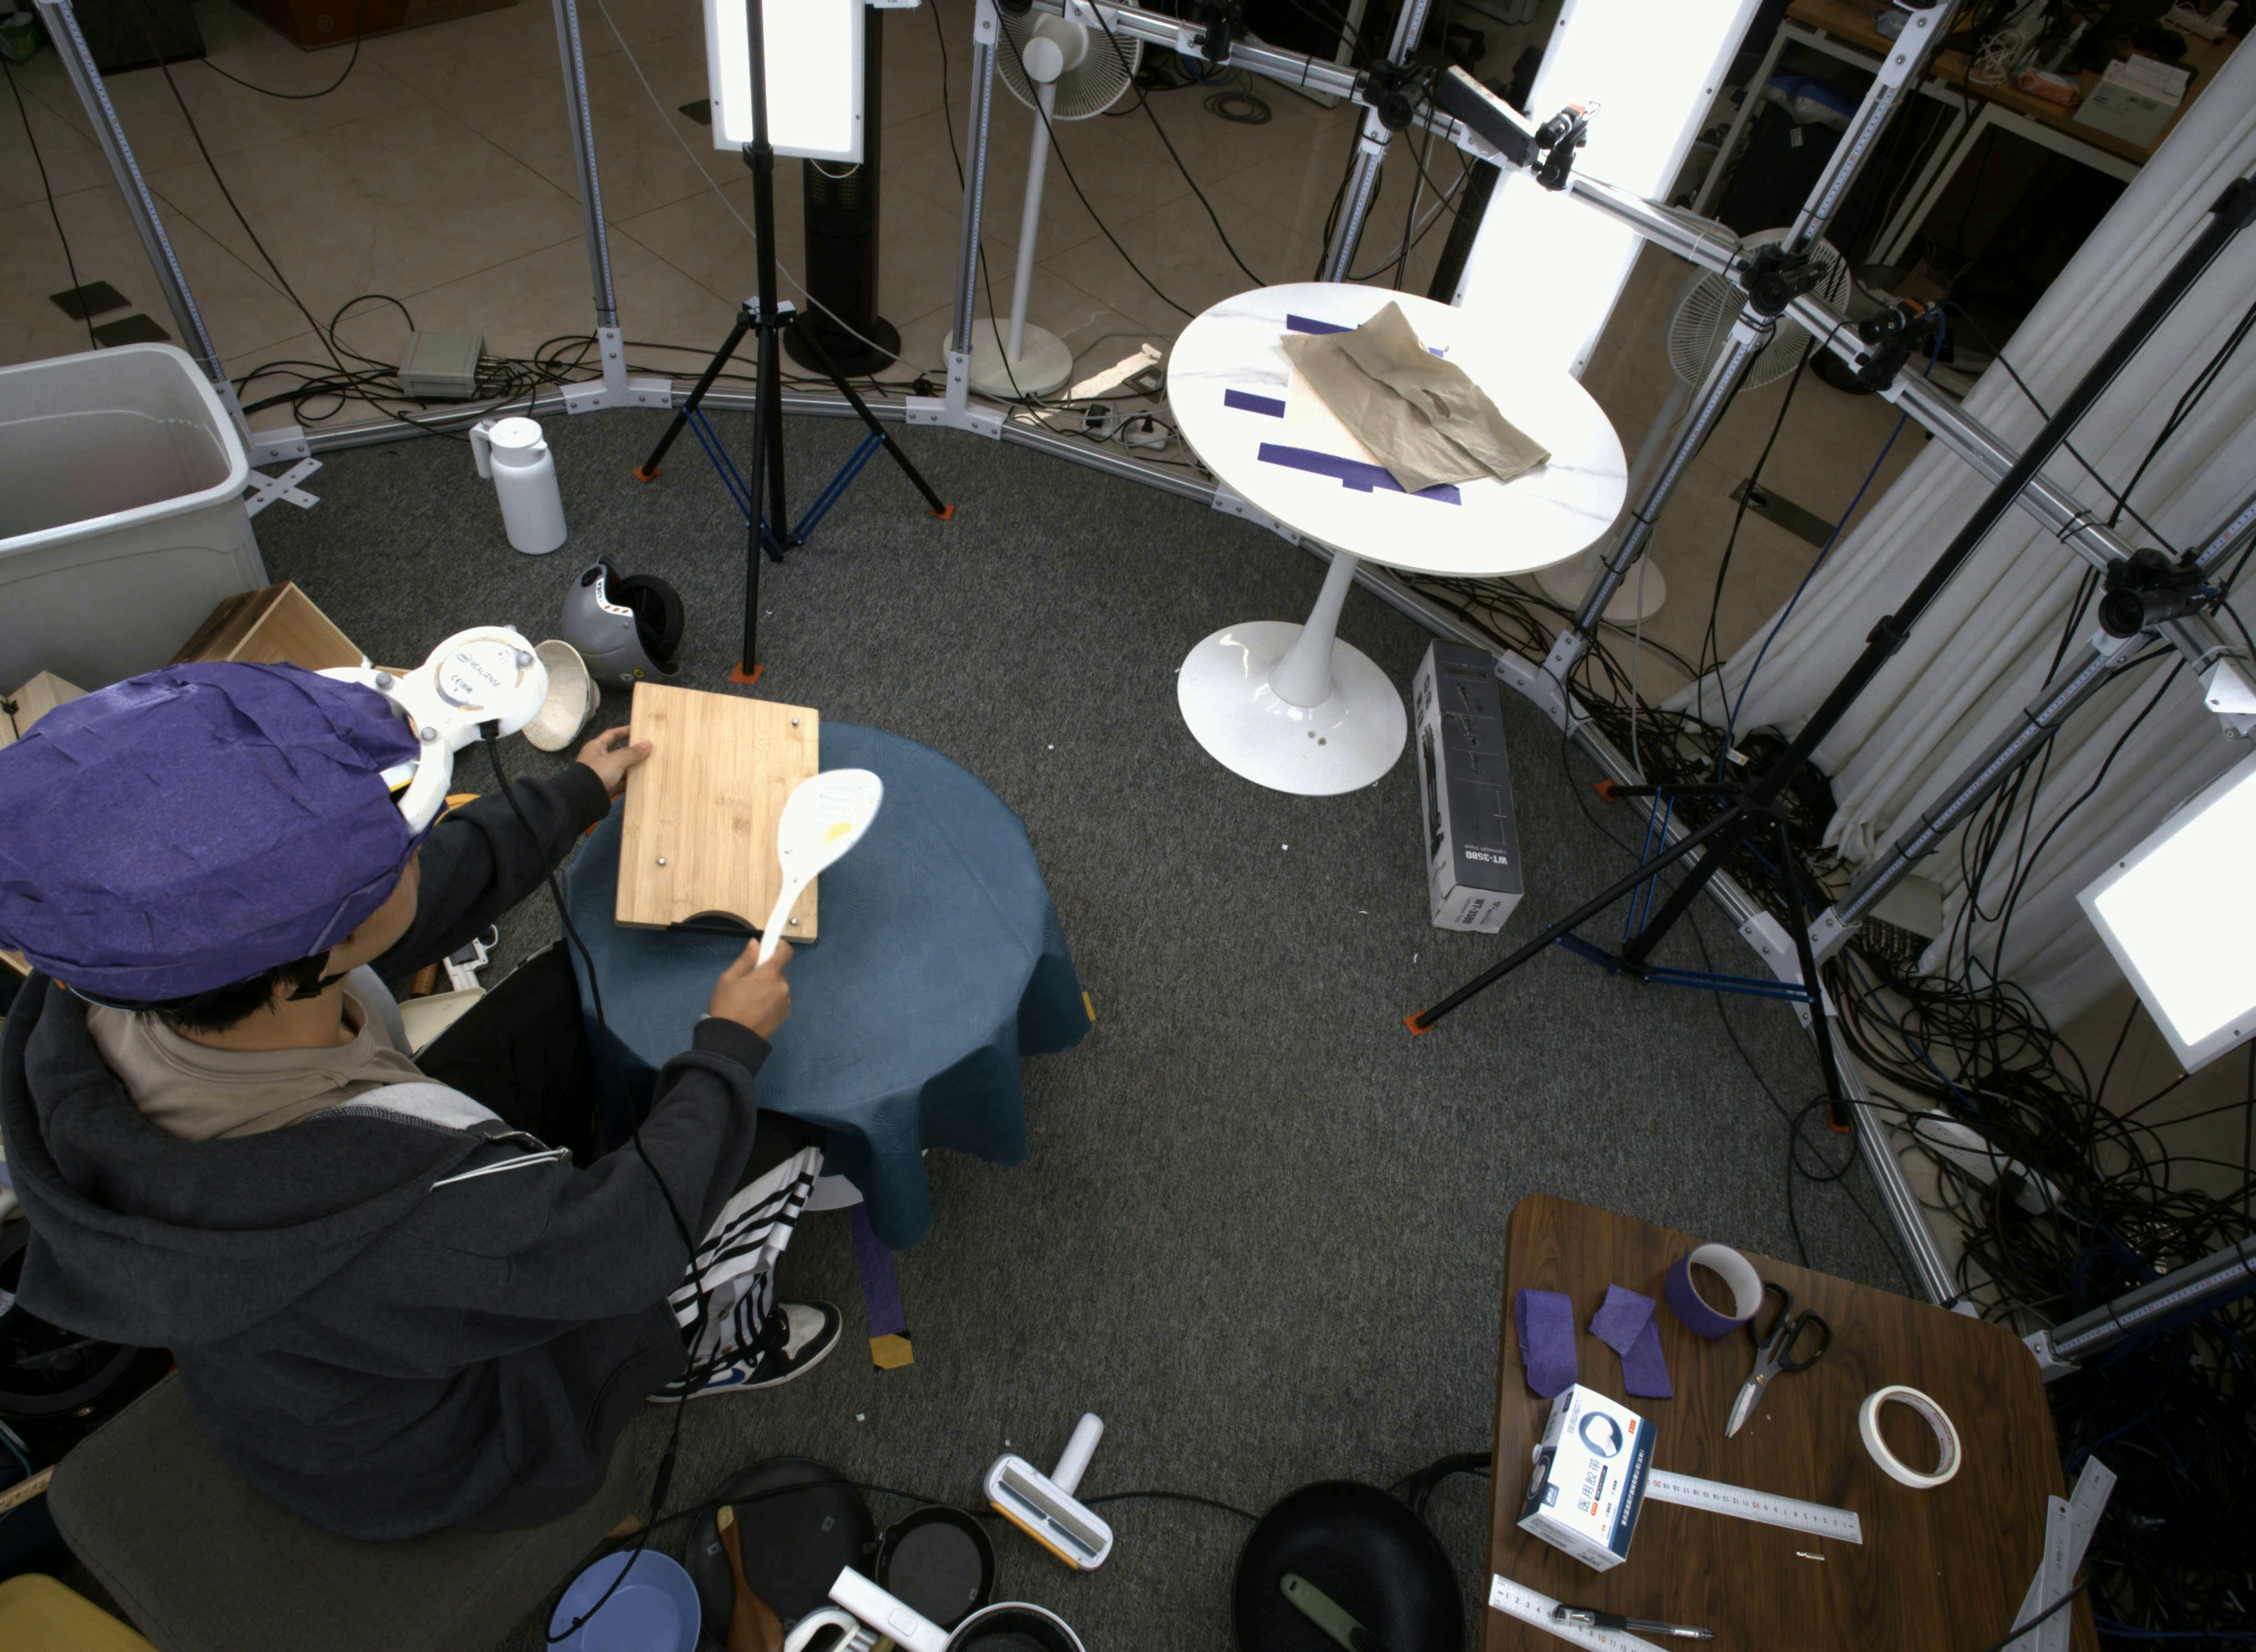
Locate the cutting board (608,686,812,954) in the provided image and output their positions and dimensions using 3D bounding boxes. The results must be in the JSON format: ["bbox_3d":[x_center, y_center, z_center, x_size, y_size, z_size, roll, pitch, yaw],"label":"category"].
[{"bbox_3d":[-0.523,-0.012,1.632,0.254,0.023,0.343,6,61,-28],"label":"cutting board"}]

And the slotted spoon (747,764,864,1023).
[{"bbox_3d":[-0.400,0.070,1.535,0.133,0.052,0.343,-2,49,21],"label":"slotted spoon"}]
